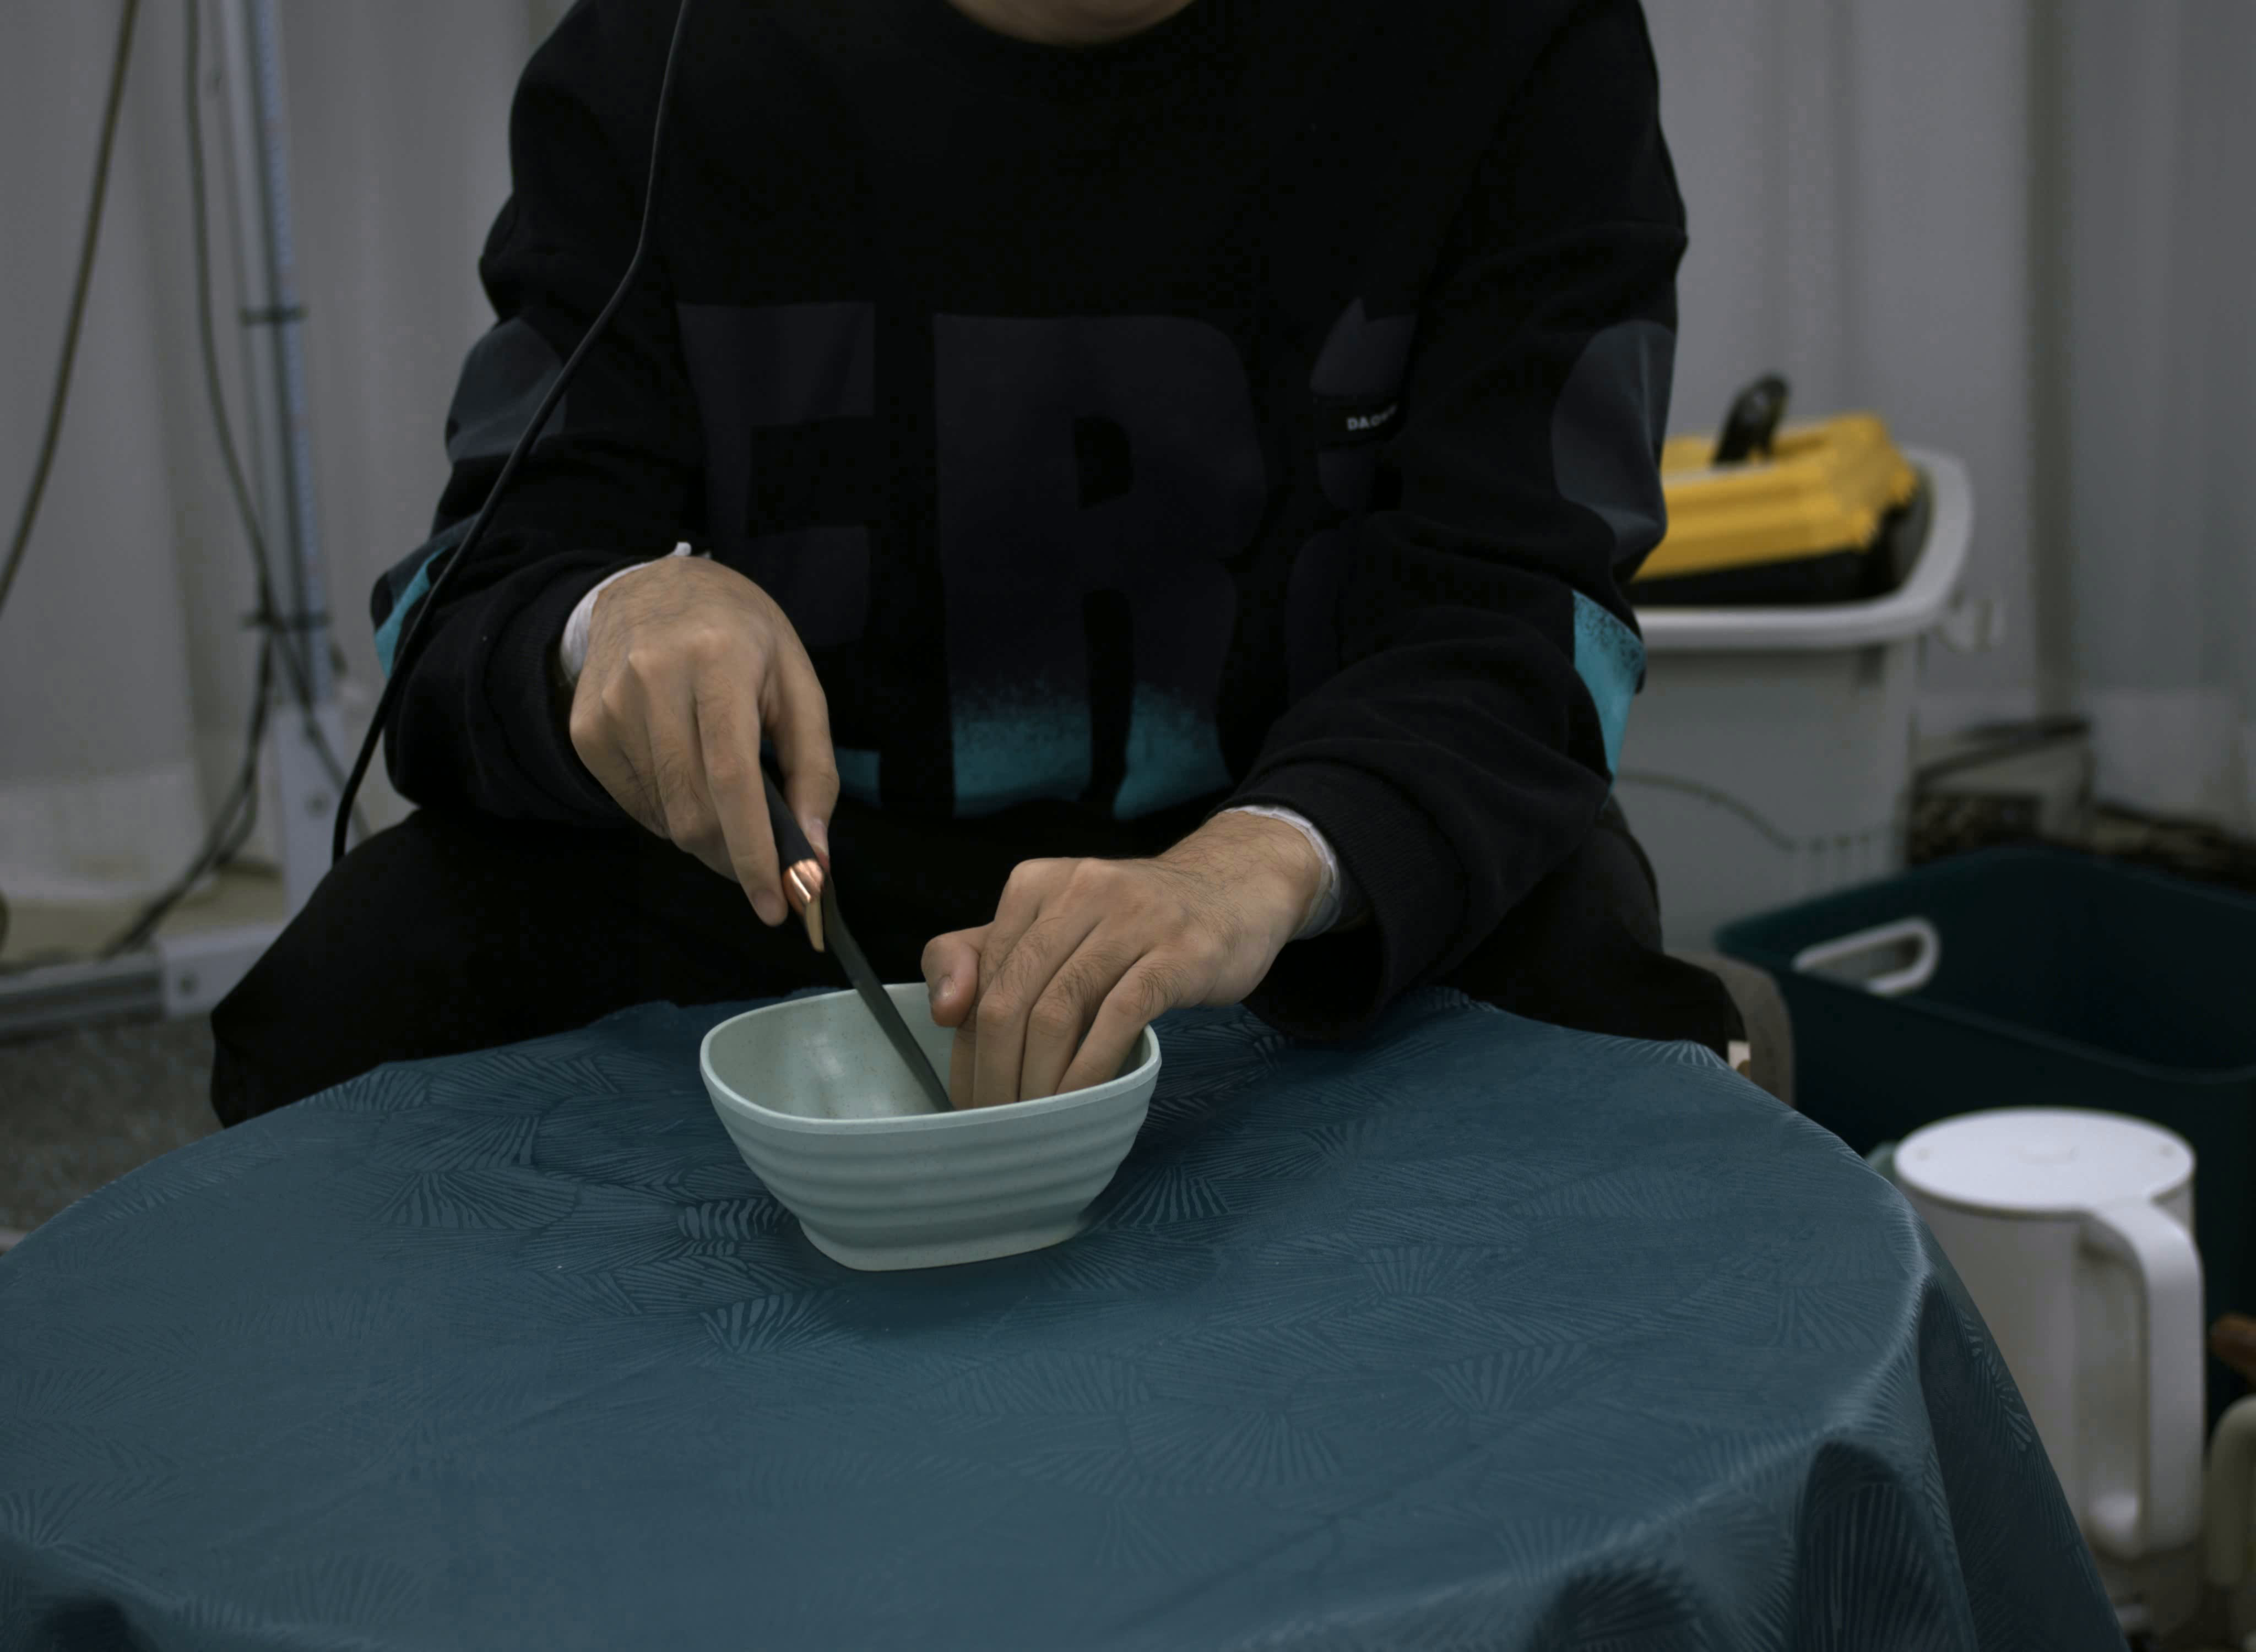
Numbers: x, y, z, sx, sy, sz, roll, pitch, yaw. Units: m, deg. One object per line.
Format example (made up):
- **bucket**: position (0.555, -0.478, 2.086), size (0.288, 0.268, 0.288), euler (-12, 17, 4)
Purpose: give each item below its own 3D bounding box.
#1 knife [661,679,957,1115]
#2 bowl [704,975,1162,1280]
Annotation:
- **knife**: position (-0.095, 0.030, 1.723), size (0.017, 0.026, 0.229), euler (-15, 47, -24)
- **bowl**: position (-0.059, 0.096, 1.689), size (0.151, 0.058, 0.152), euler (-4, 16, 1)
